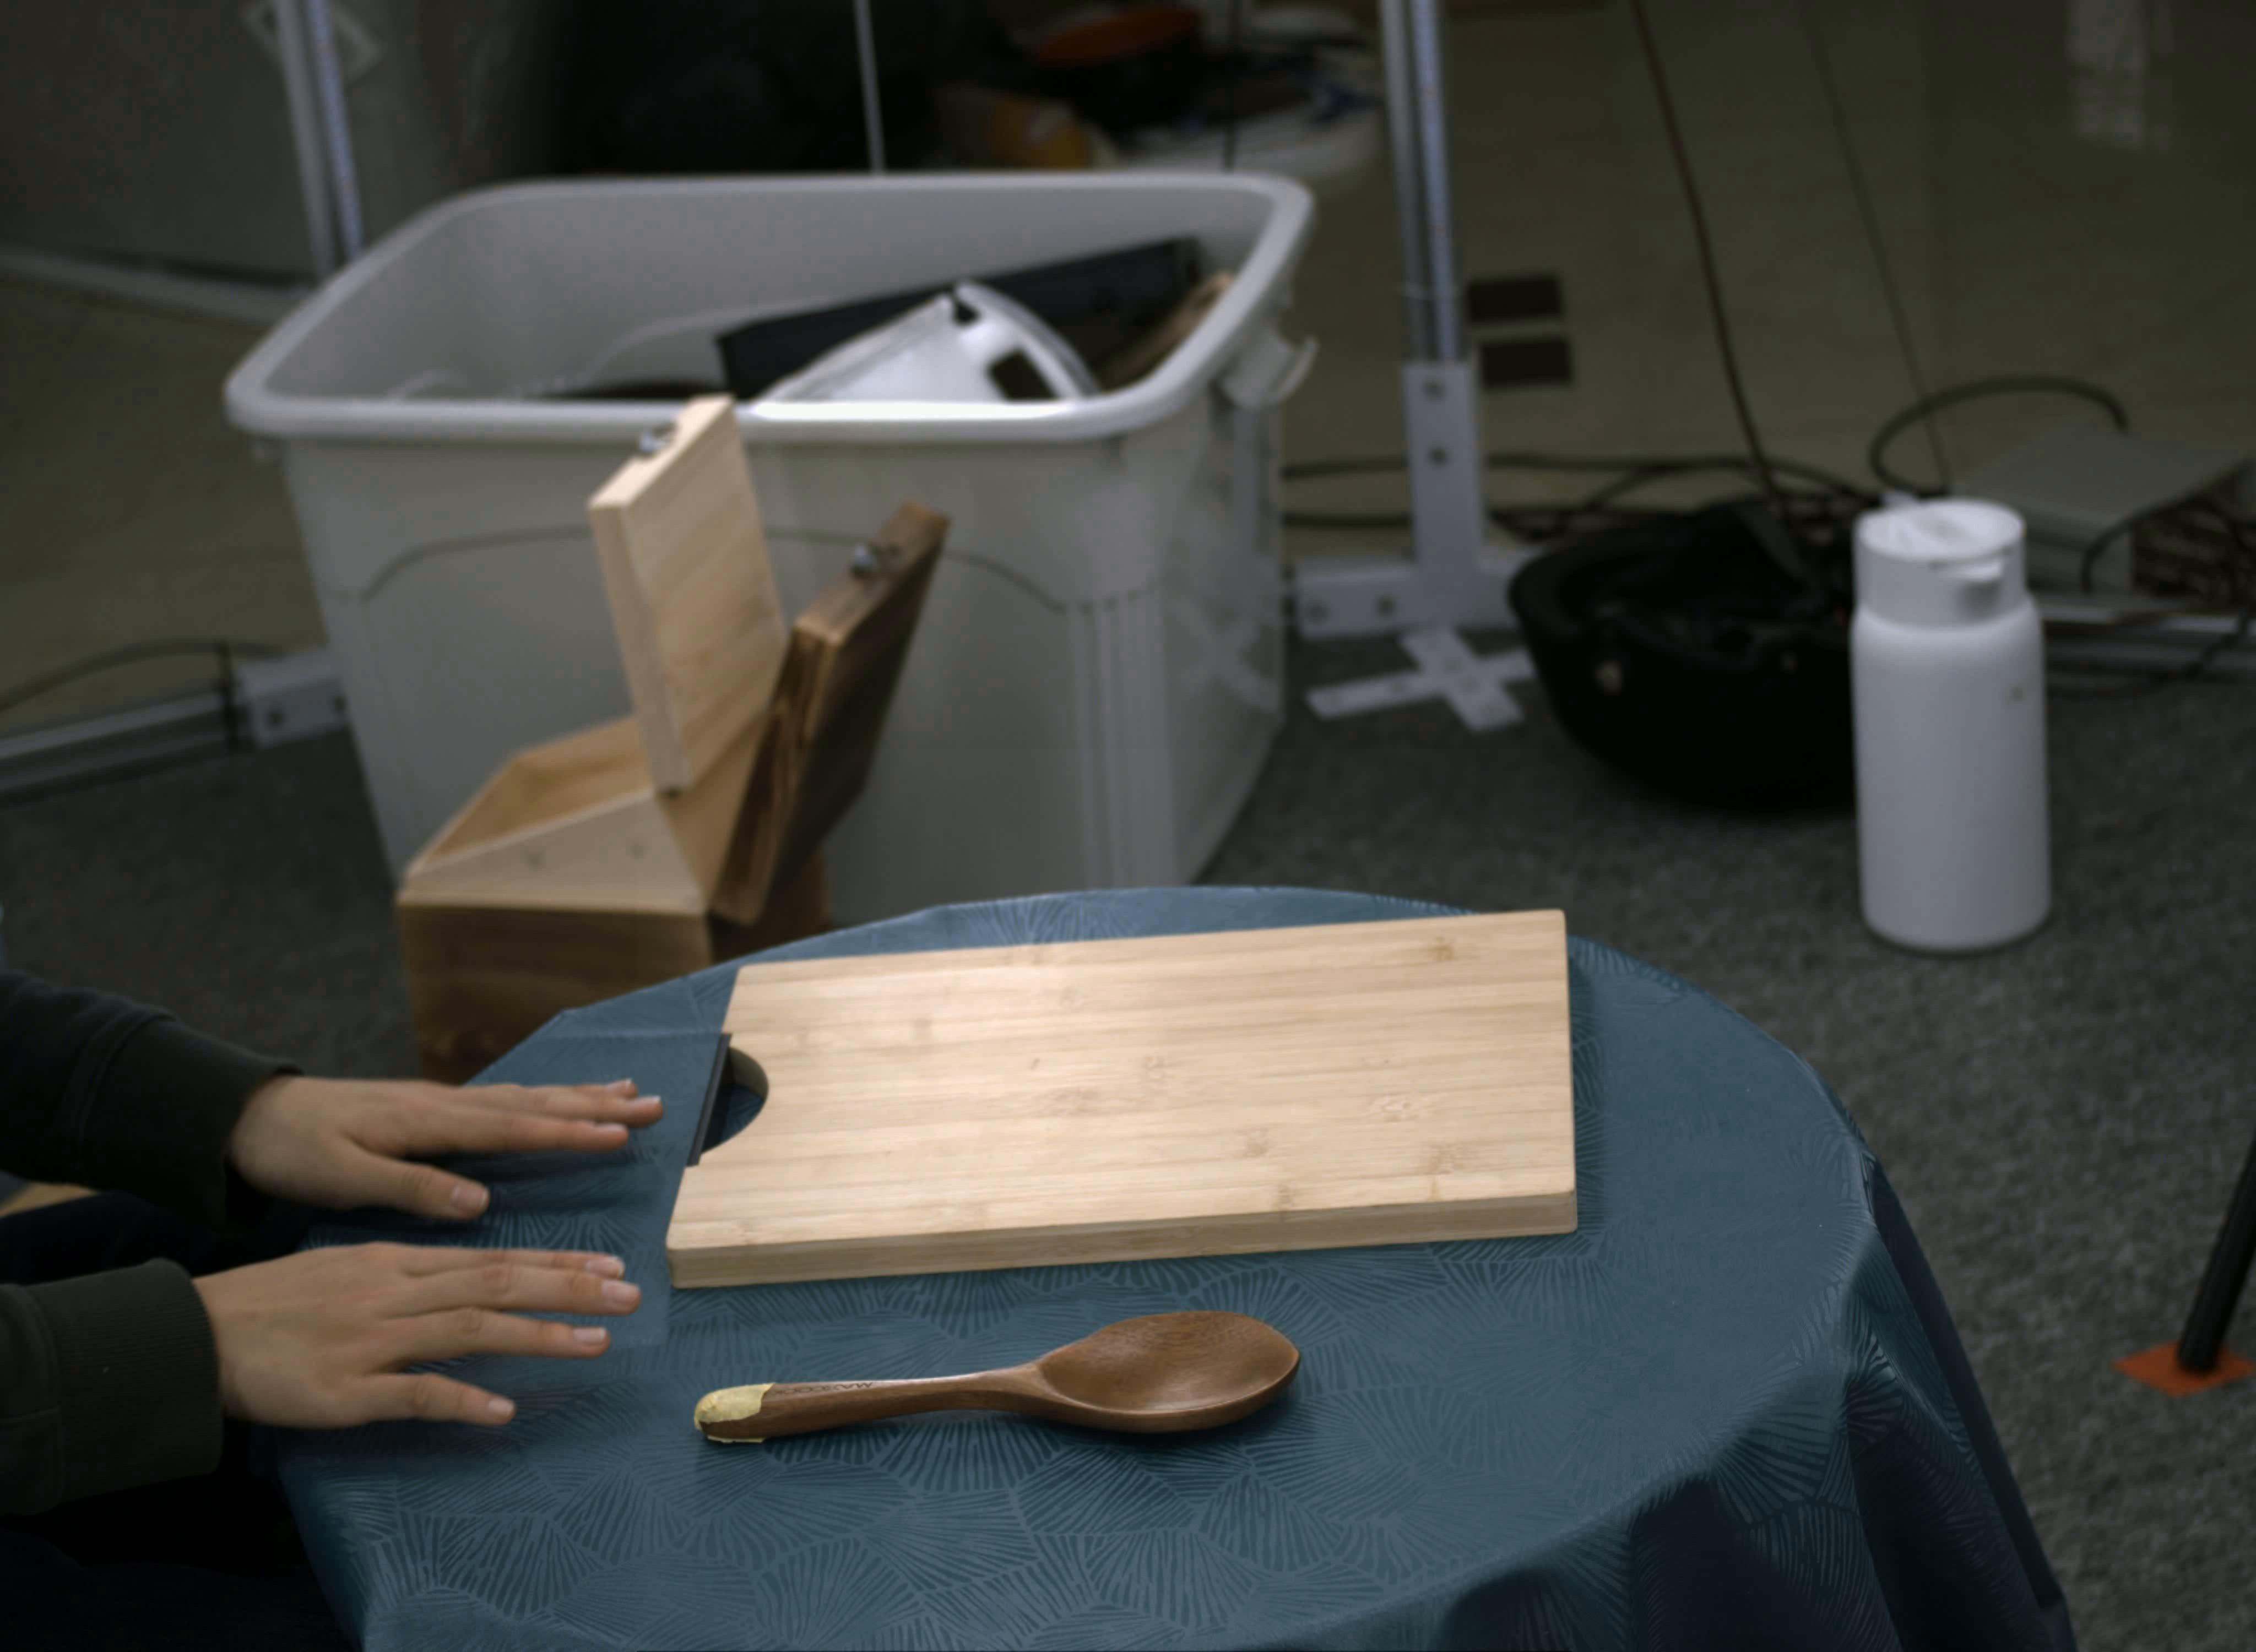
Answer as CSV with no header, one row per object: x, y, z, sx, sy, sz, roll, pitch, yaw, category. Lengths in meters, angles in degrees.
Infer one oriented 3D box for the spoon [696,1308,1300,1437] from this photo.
-0.046,0.200,2.012,0.215,0.017,0.074,-4,27,4,spoon

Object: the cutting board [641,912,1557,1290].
-0.004,0.105,2.208,0.348,0.024,0.247,-4,24,5,cutting board
